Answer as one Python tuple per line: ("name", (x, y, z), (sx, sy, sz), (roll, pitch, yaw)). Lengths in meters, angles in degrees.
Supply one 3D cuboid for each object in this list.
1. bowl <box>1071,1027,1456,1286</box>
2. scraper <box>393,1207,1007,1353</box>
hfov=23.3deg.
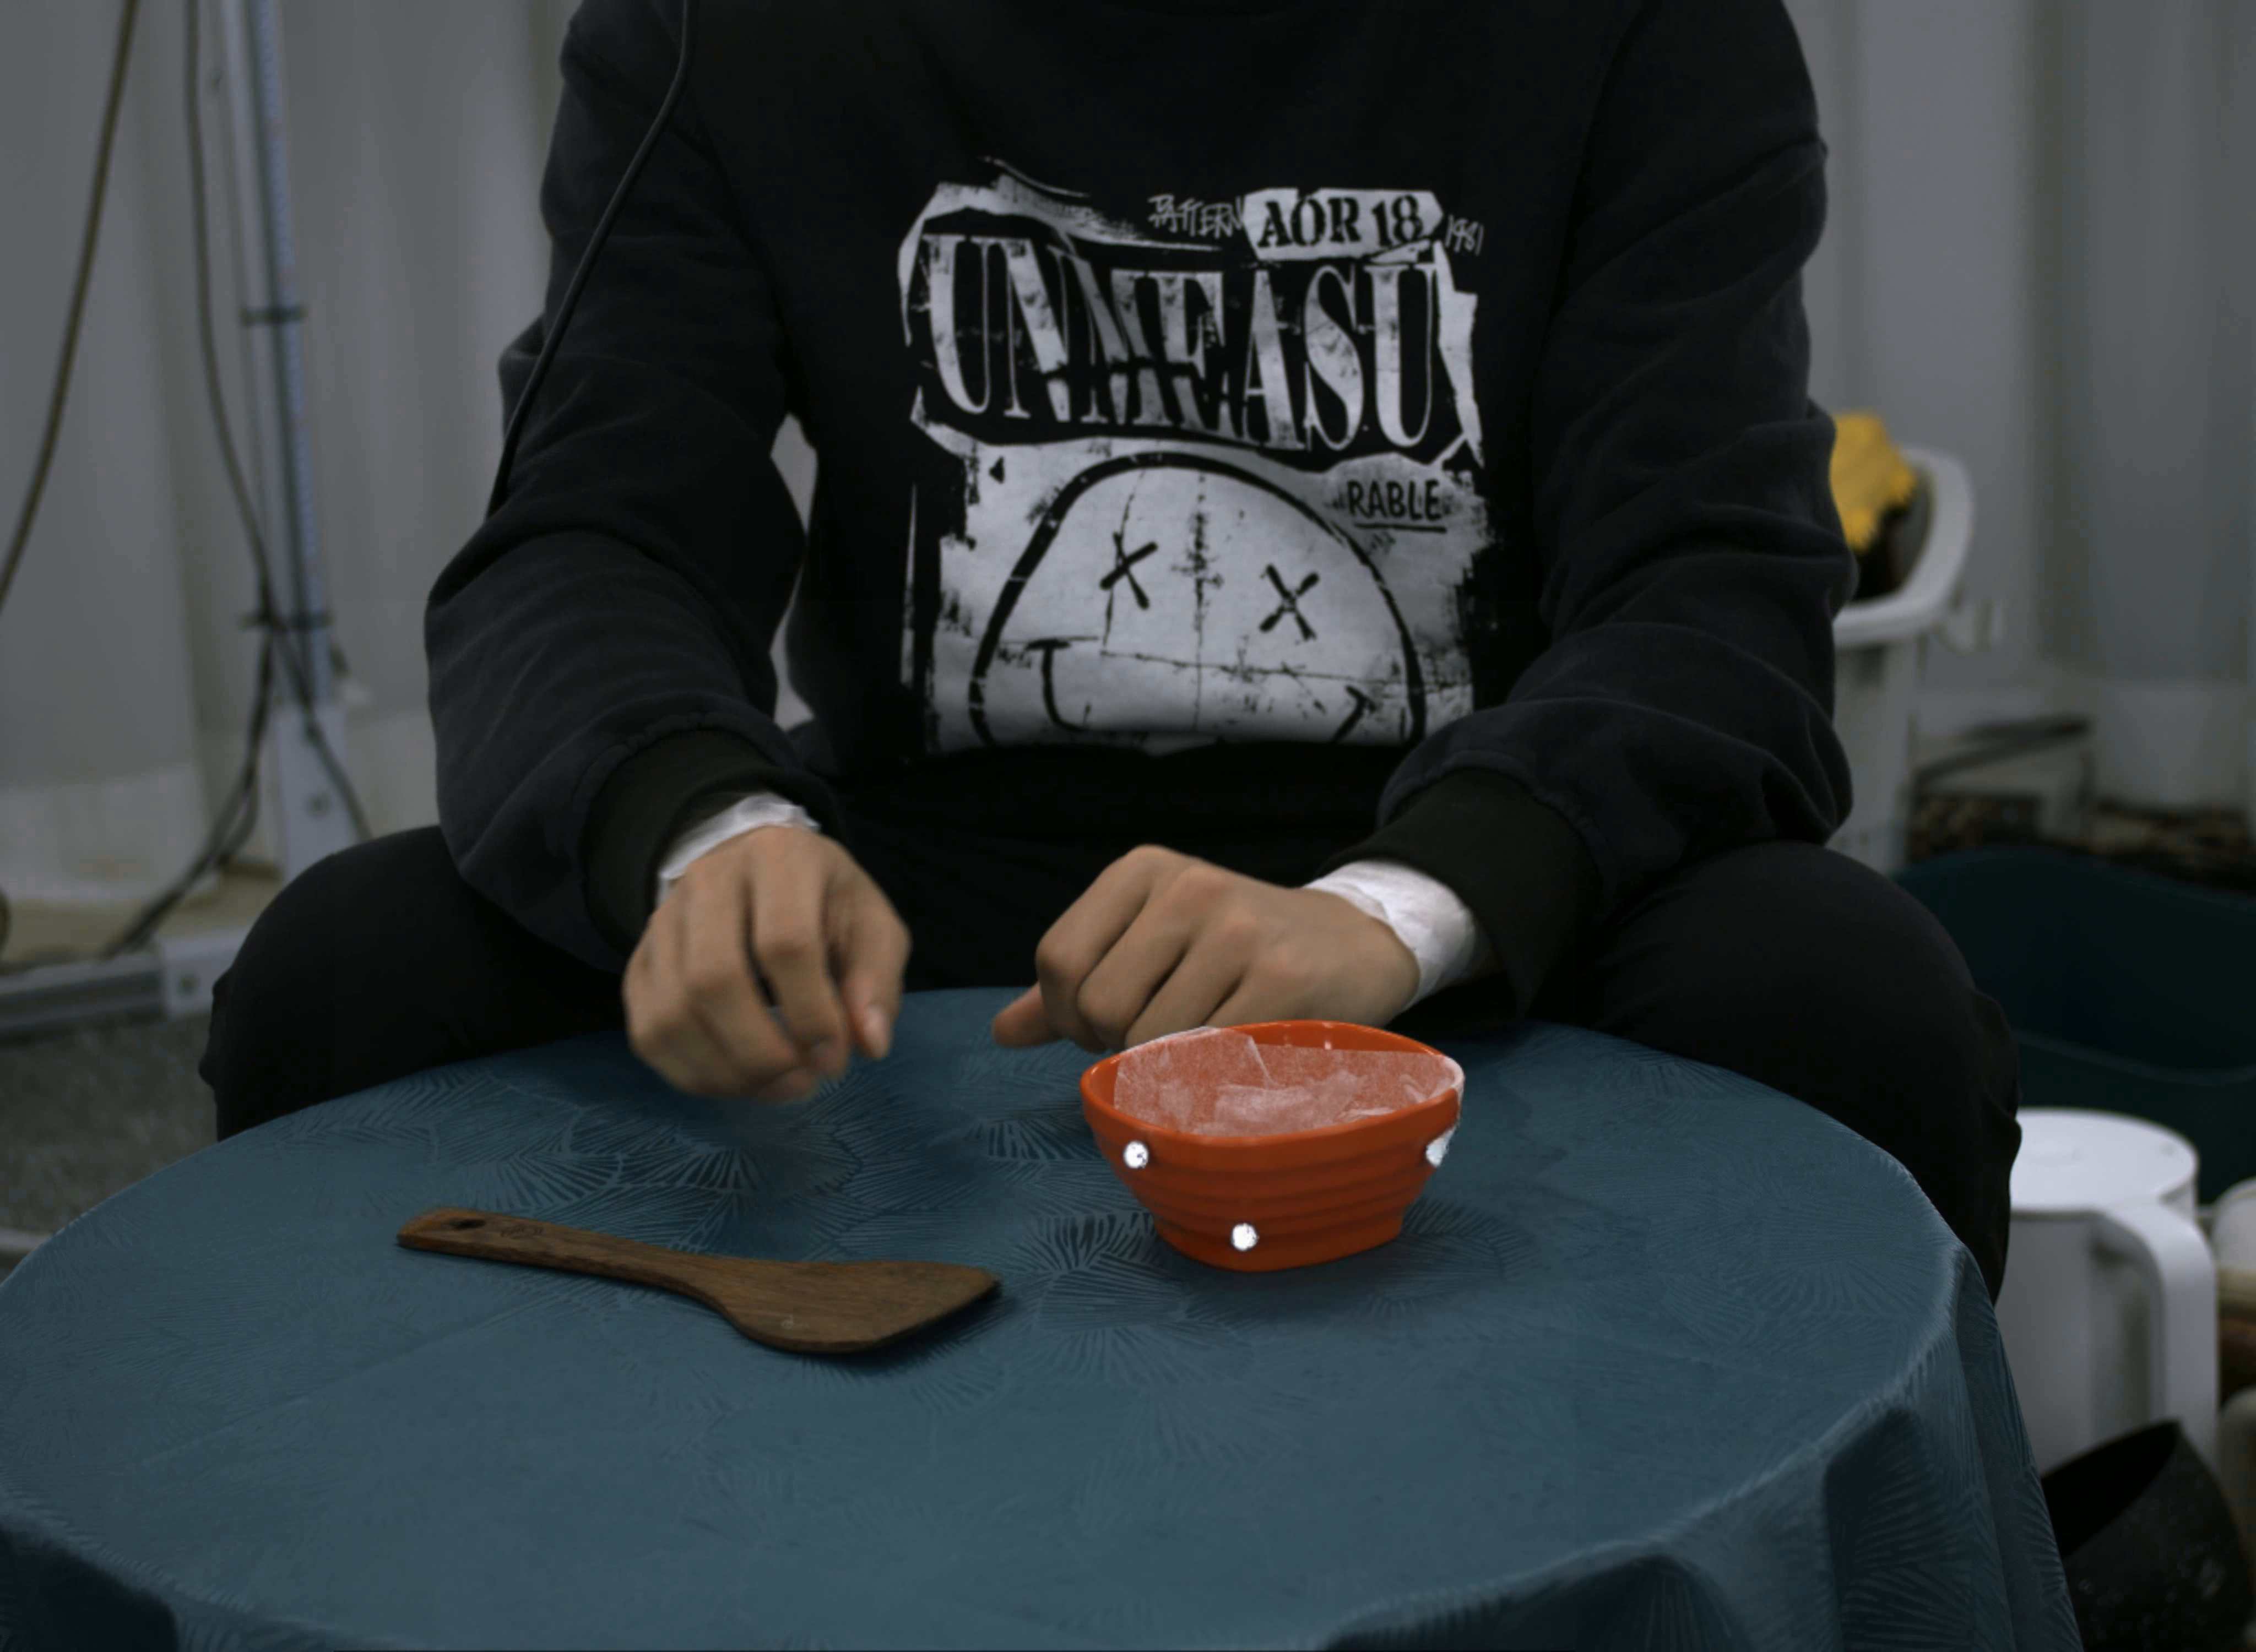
("bowl", (0.044, 0.103, 1.667), (0.118, 0.051, 0.120), (-7, 15, 1))
("scraper", (-0.136, 0.134, 1.652), (0.212, 0.011, 0.076), (7, 17, 34))
